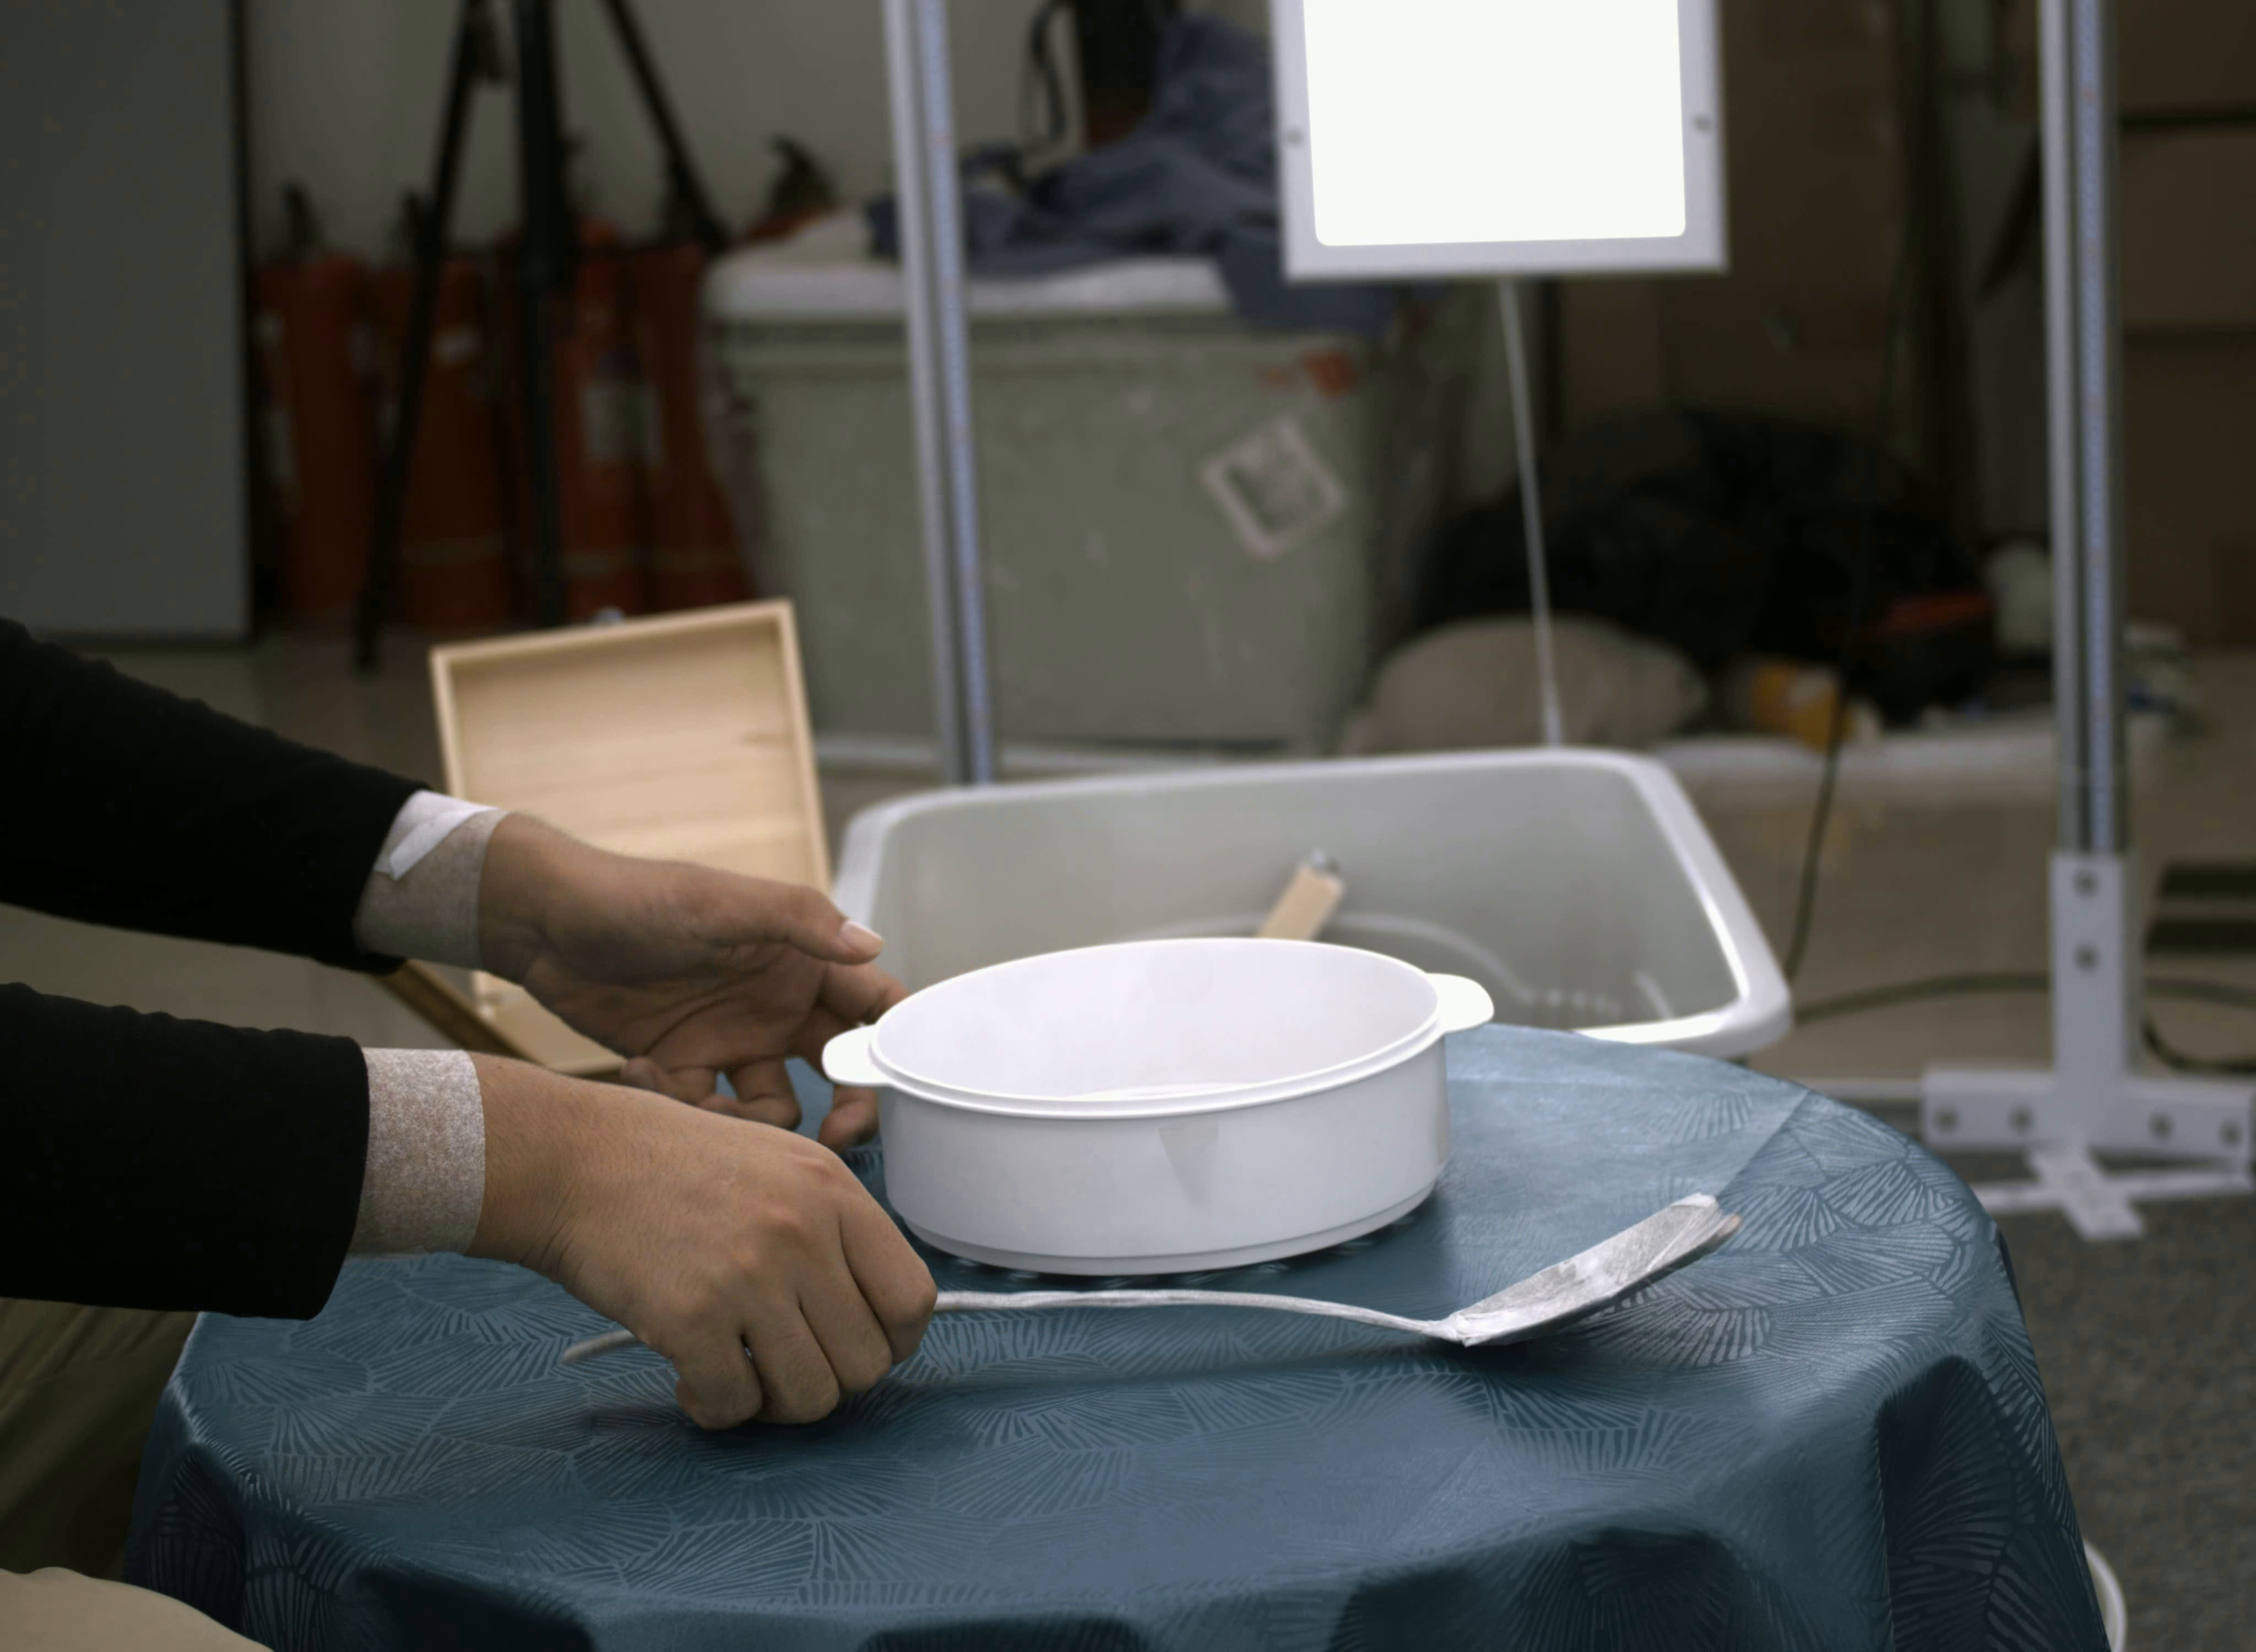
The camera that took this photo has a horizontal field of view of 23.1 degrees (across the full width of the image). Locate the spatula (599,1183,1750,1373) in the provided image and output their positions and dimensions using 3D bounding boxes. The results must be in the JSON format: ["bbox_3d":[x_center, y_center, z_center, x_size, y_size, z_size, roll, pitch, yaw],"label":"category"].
[{"bbox_3d":[0.013,0.145,1.719,0.365,0.045,0.098,-2,7,4],"label":"spatula"}]

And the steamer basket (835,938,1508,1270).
[{"bbox_3d":[0.017,0.095,1.875,0.230,0.069,0.202,-6,13,-1],"label":"steamer basket"}]
